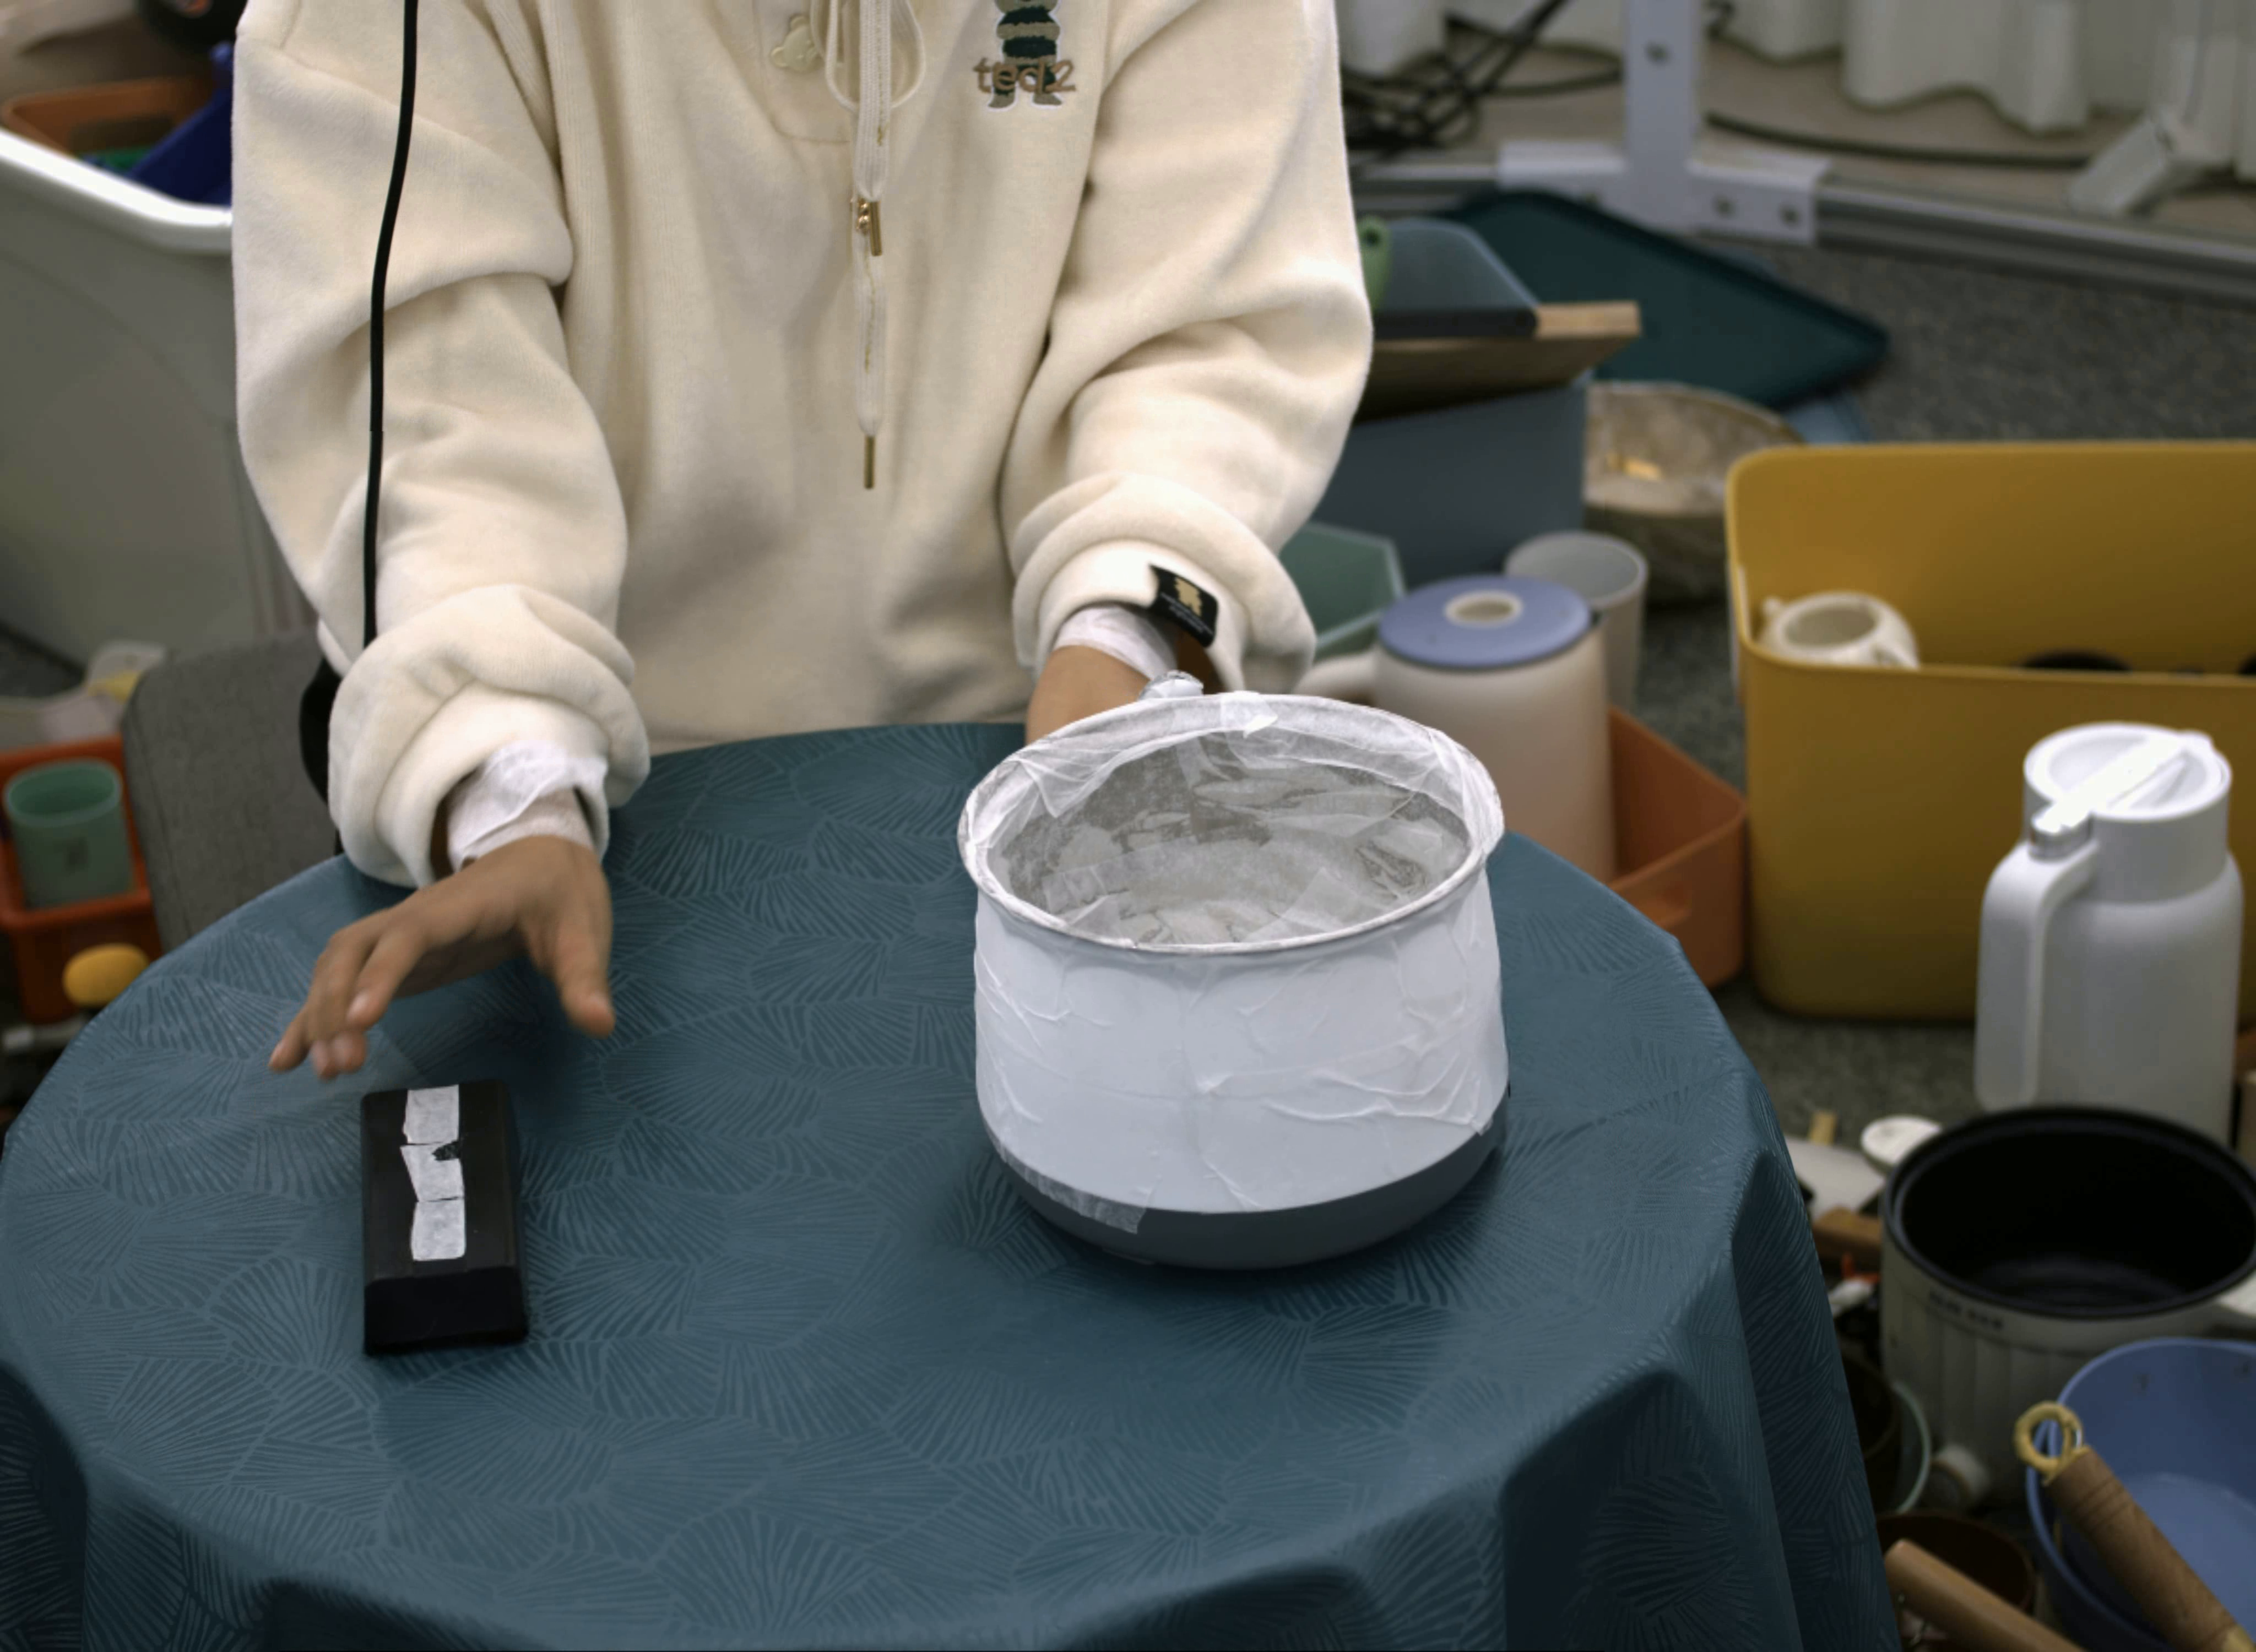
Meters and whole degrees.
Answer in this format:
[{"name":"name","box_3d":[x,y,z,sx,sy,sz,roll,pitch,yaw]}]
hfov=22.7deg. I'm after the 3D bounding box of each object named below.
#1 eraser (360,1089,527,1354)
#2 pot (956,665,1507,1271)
[{"name":"eraser","box_3d":[-0.224,0.129,1.840,0.053,0.030,0.127,-5,26,-5]},{"name":"pot","box_3d":[0.030,0.039,1.868,0.178,0.135,0.236,-8,28,-9]}]
